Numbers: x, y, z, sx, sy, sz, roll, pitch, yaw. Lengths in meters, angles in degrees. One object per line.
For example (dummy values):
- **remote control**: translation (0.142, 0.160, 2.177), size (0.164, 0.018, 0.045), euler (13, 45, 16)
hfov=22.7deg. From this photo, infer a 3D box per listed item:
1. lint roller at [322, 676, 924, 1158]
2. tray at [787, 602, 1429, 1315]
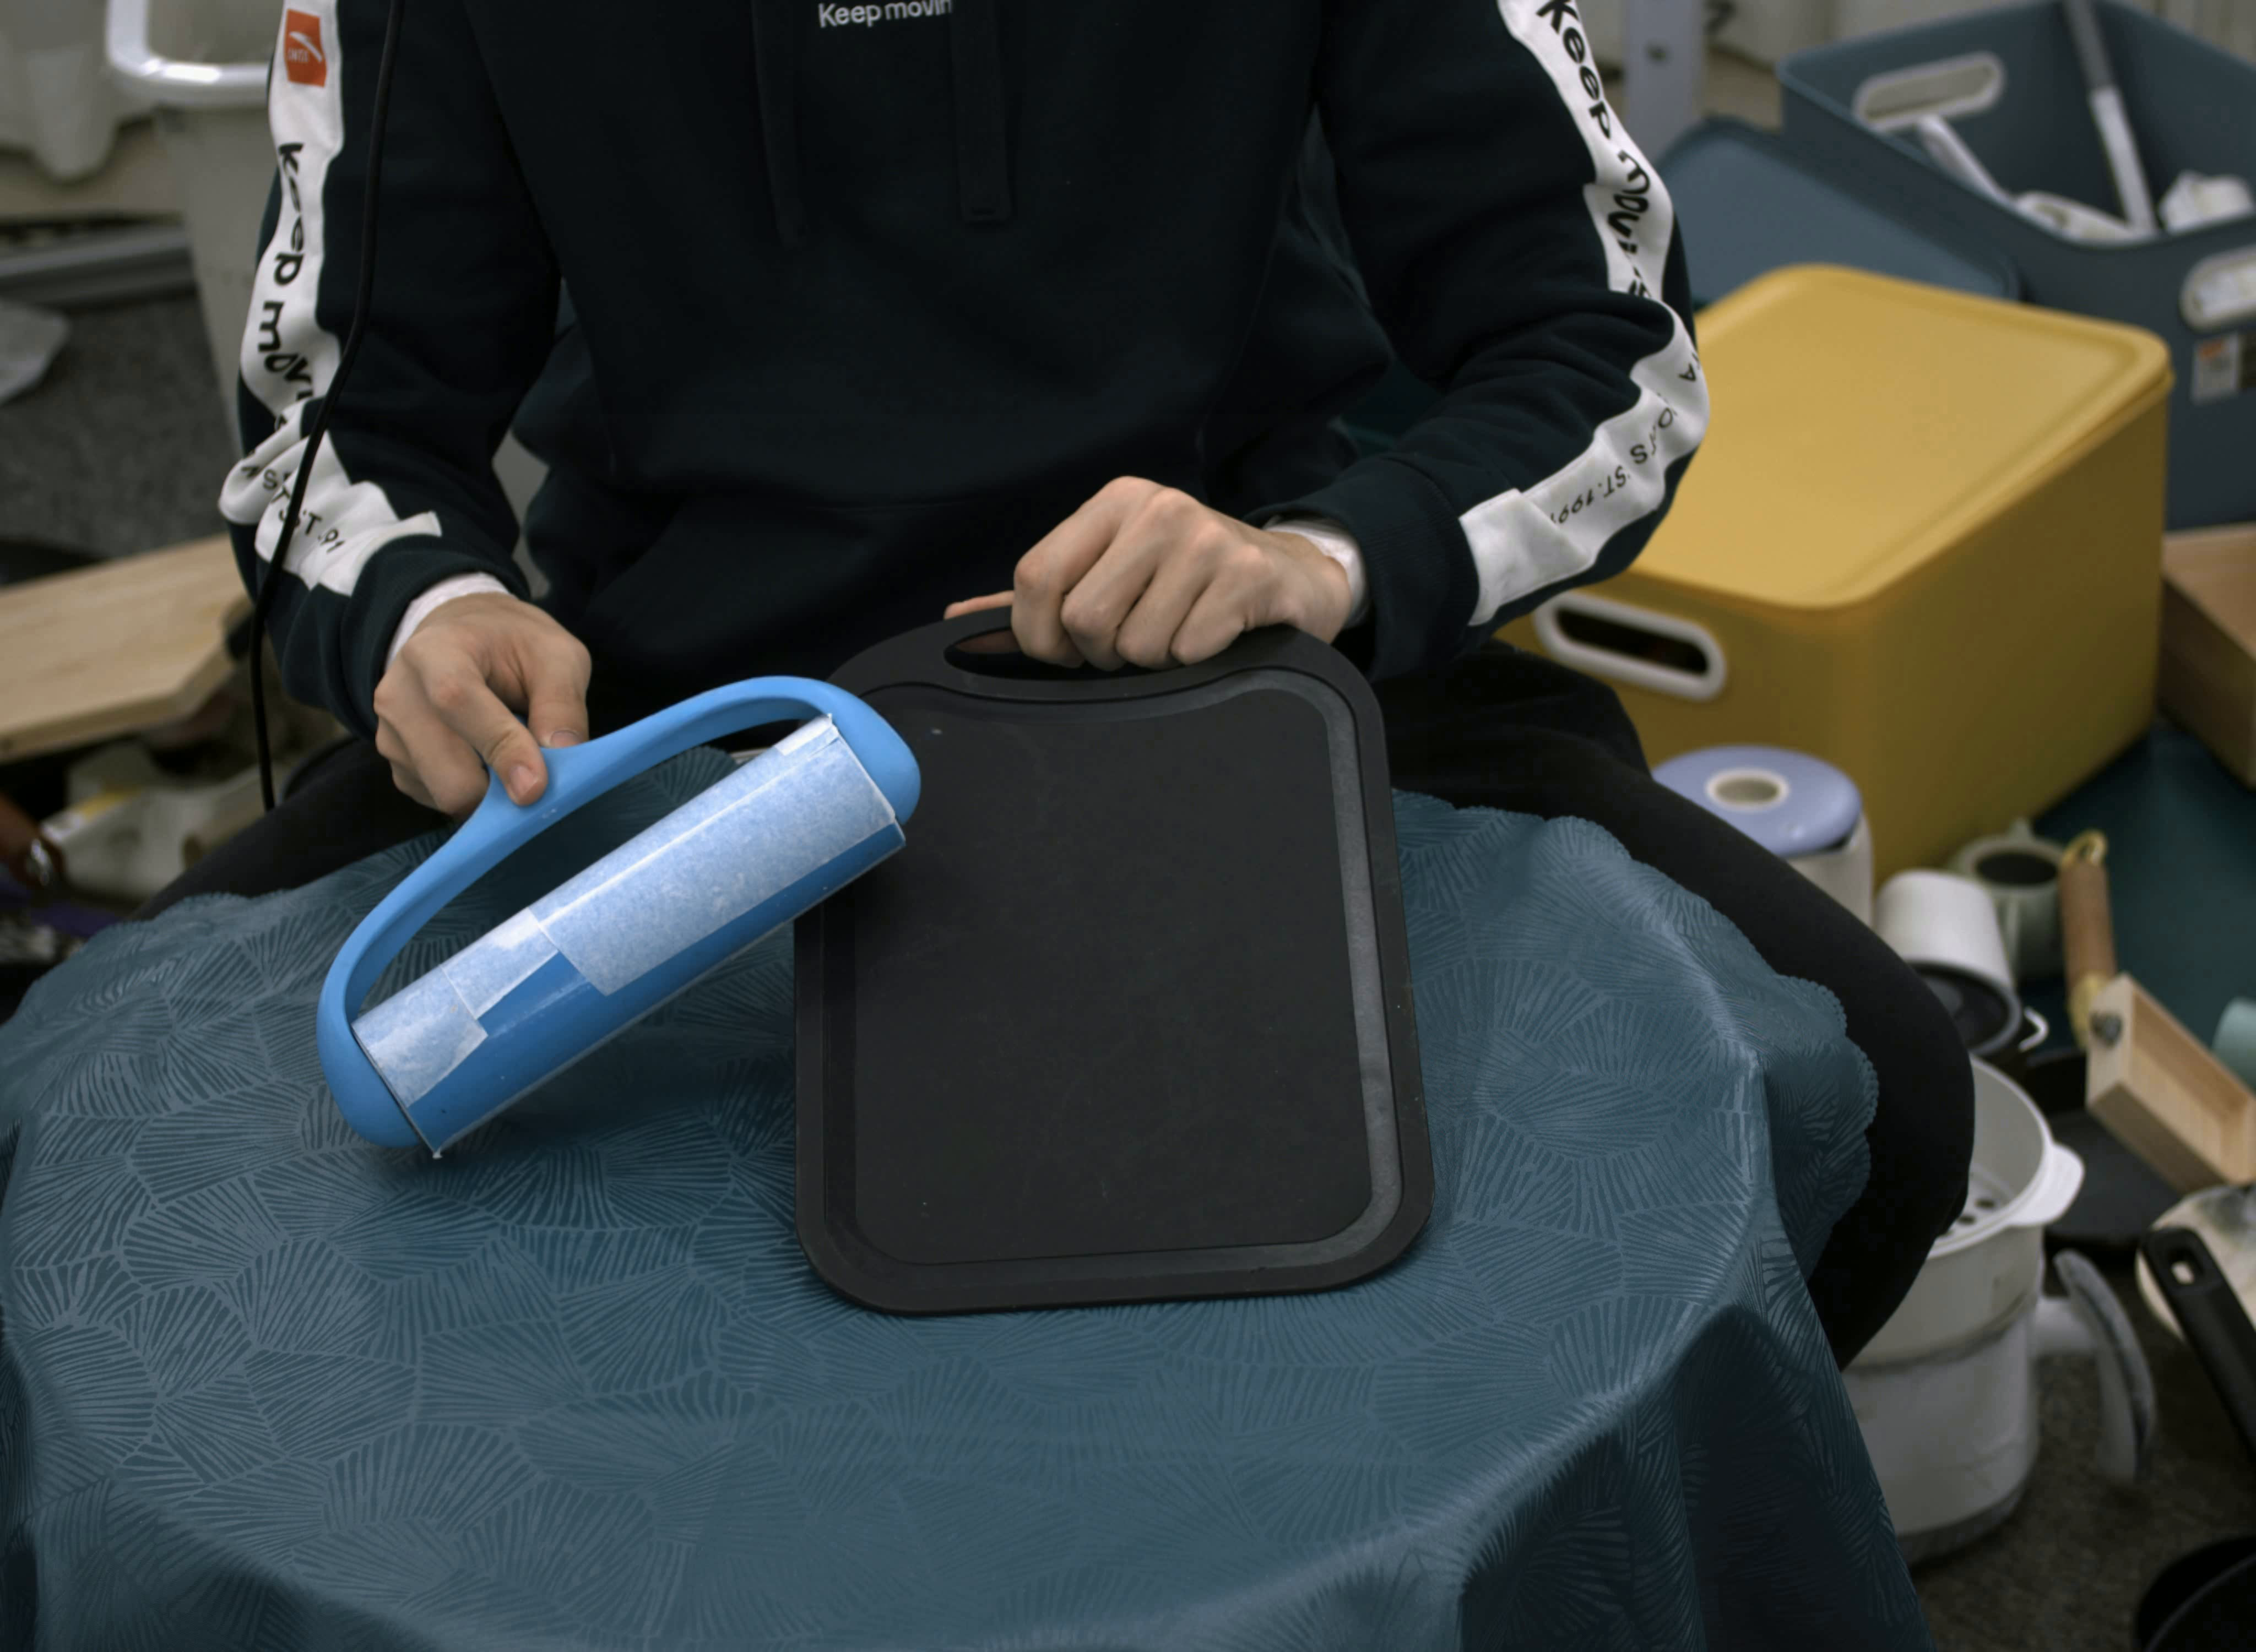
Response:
- **lint roller**: translation (-0.197, 0.006, 1.944), size (0.230, 0.067, 0.181), euler (-36, 44, -9)
- **tray**: translation (-0.010, 0.036, 1.912), size (0.210, 0.009, 0.332), euler (-2, 45, -1)
